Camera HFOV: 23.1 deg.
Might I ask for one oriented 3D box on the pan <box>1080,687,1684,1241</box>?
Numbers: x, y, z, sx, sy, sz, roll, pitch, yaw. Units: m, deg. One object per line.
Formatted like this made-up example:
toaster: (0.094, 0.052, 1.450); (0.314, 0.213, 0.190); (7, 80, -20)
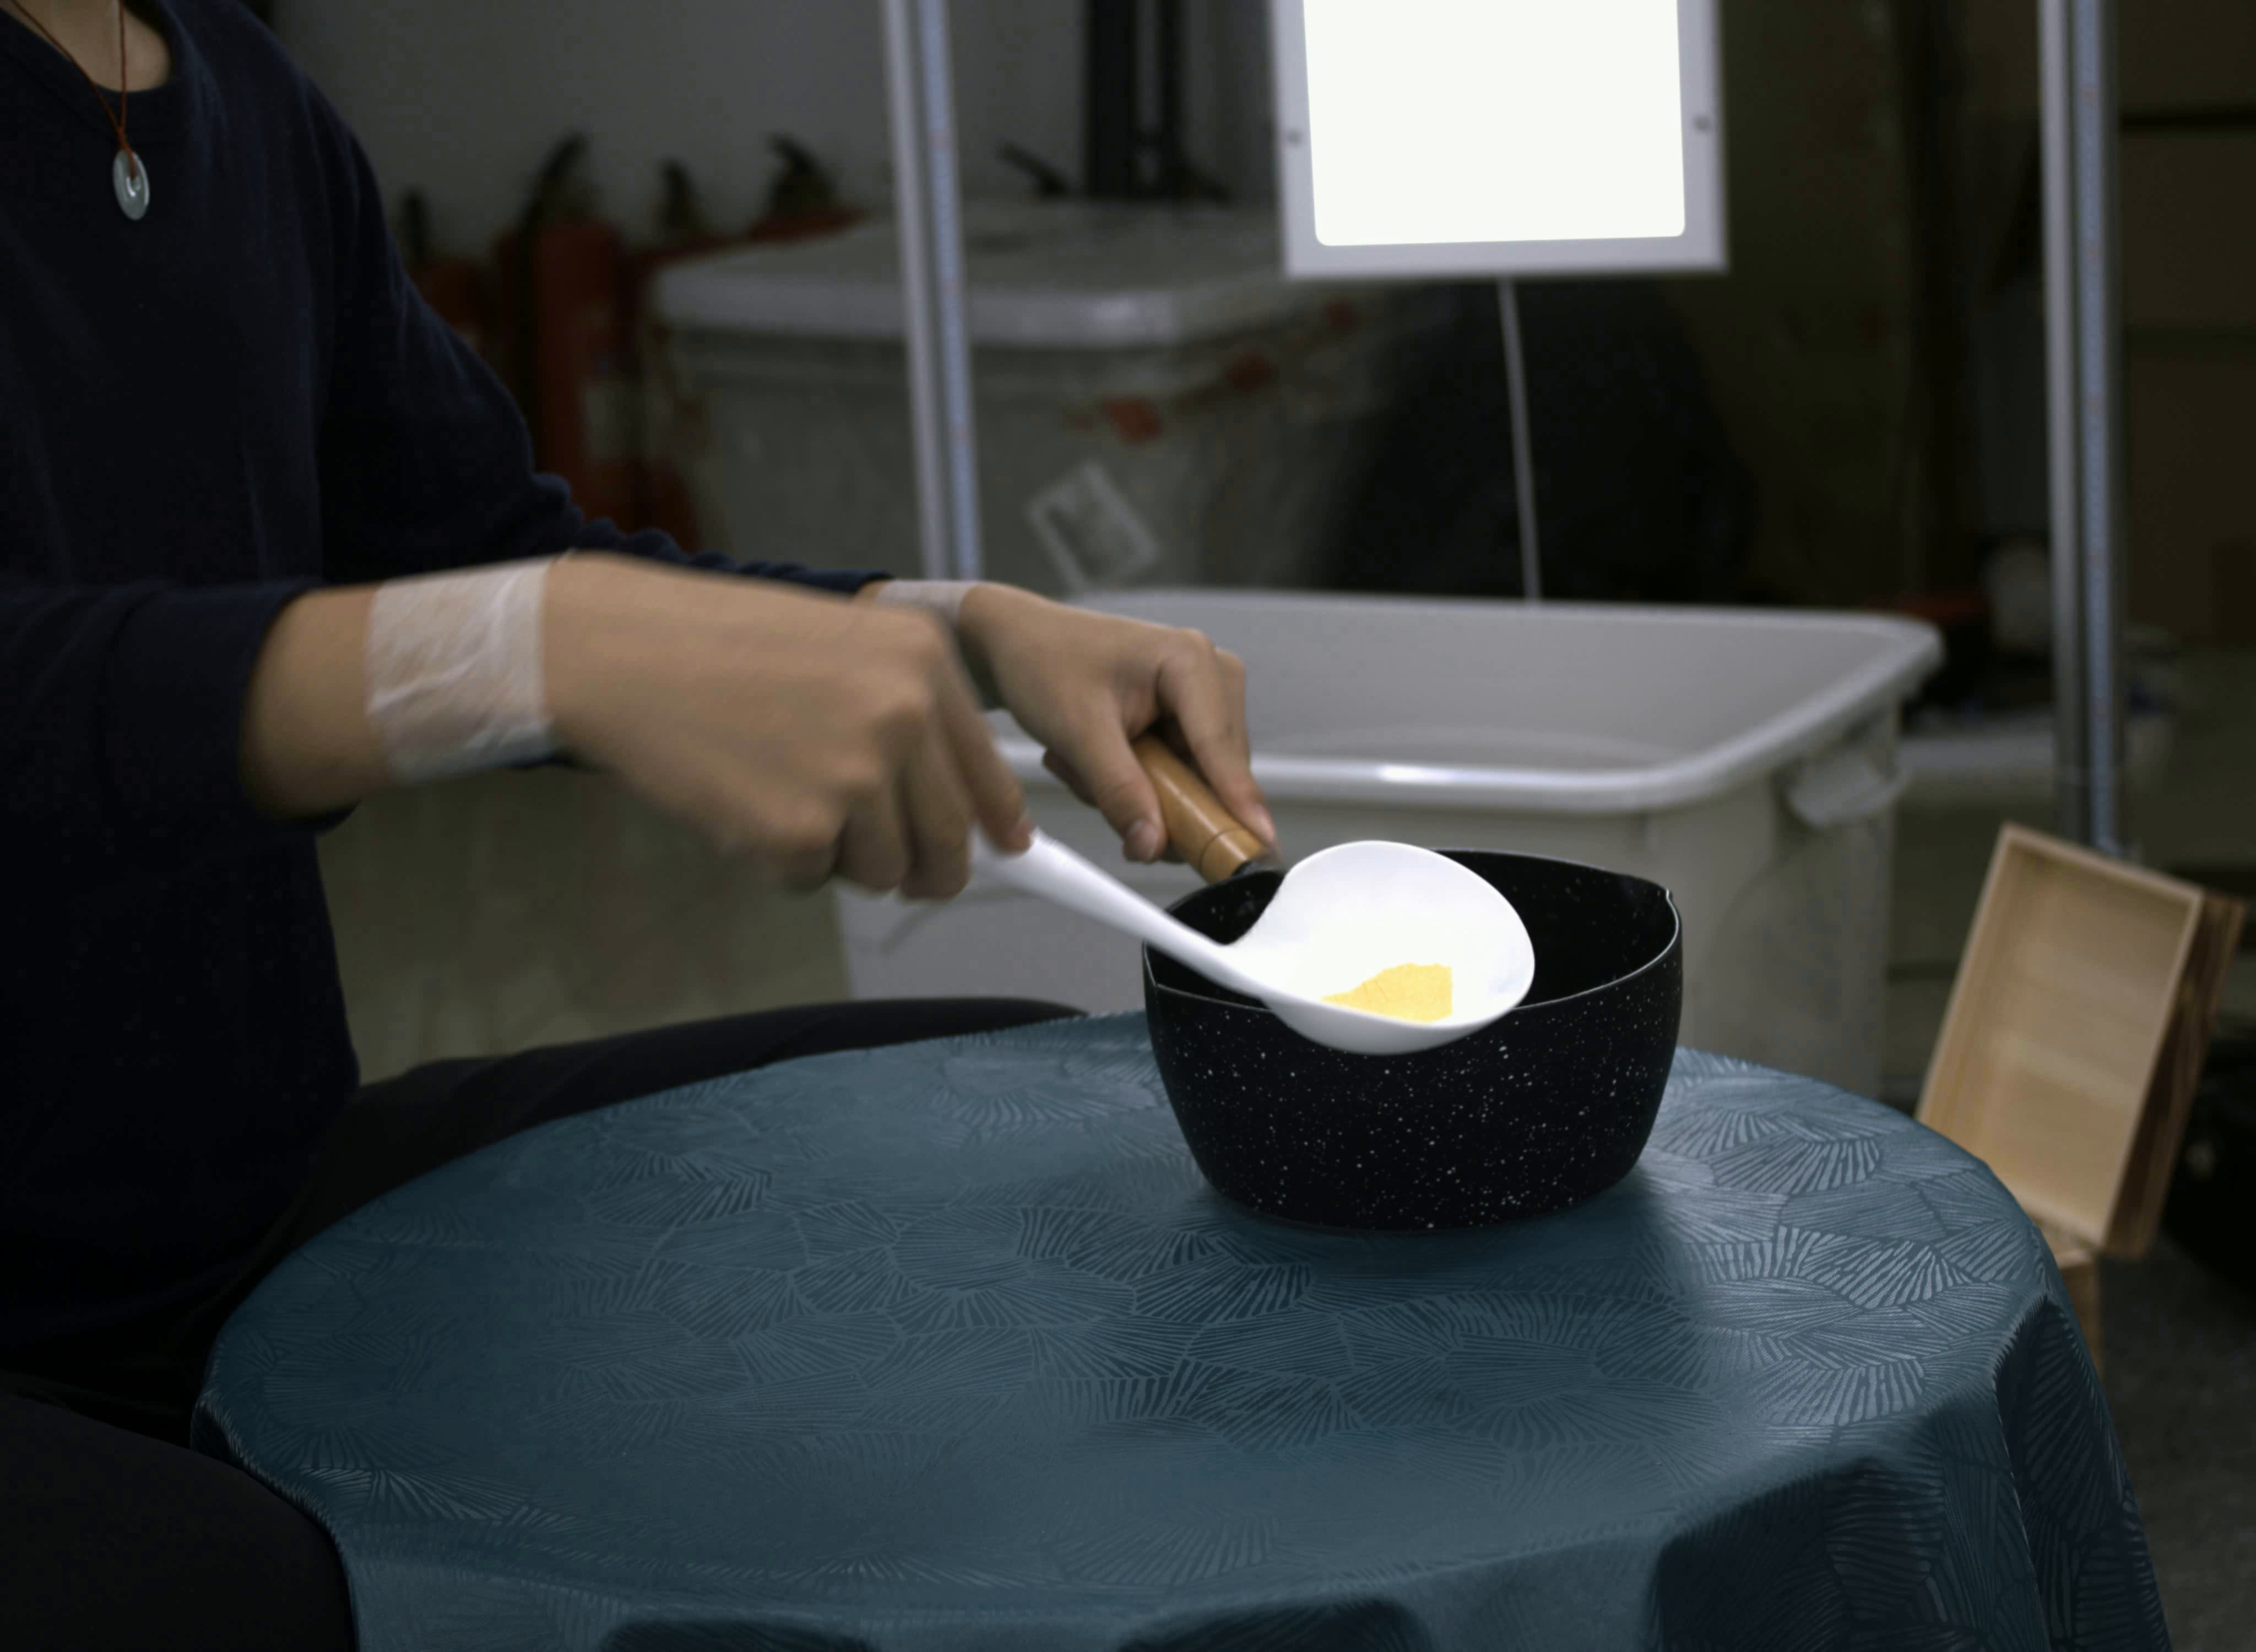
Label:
pan: (0.063, 0.044, 1.946); (0.203, 0.108, 0.348); (-12, 21, -23)

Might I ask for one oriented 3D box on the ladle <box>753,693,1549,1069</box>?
ladle: (0.012, 0.009, 1.615); (0.287, 0.071, 0.091); (25, 28, -44)
